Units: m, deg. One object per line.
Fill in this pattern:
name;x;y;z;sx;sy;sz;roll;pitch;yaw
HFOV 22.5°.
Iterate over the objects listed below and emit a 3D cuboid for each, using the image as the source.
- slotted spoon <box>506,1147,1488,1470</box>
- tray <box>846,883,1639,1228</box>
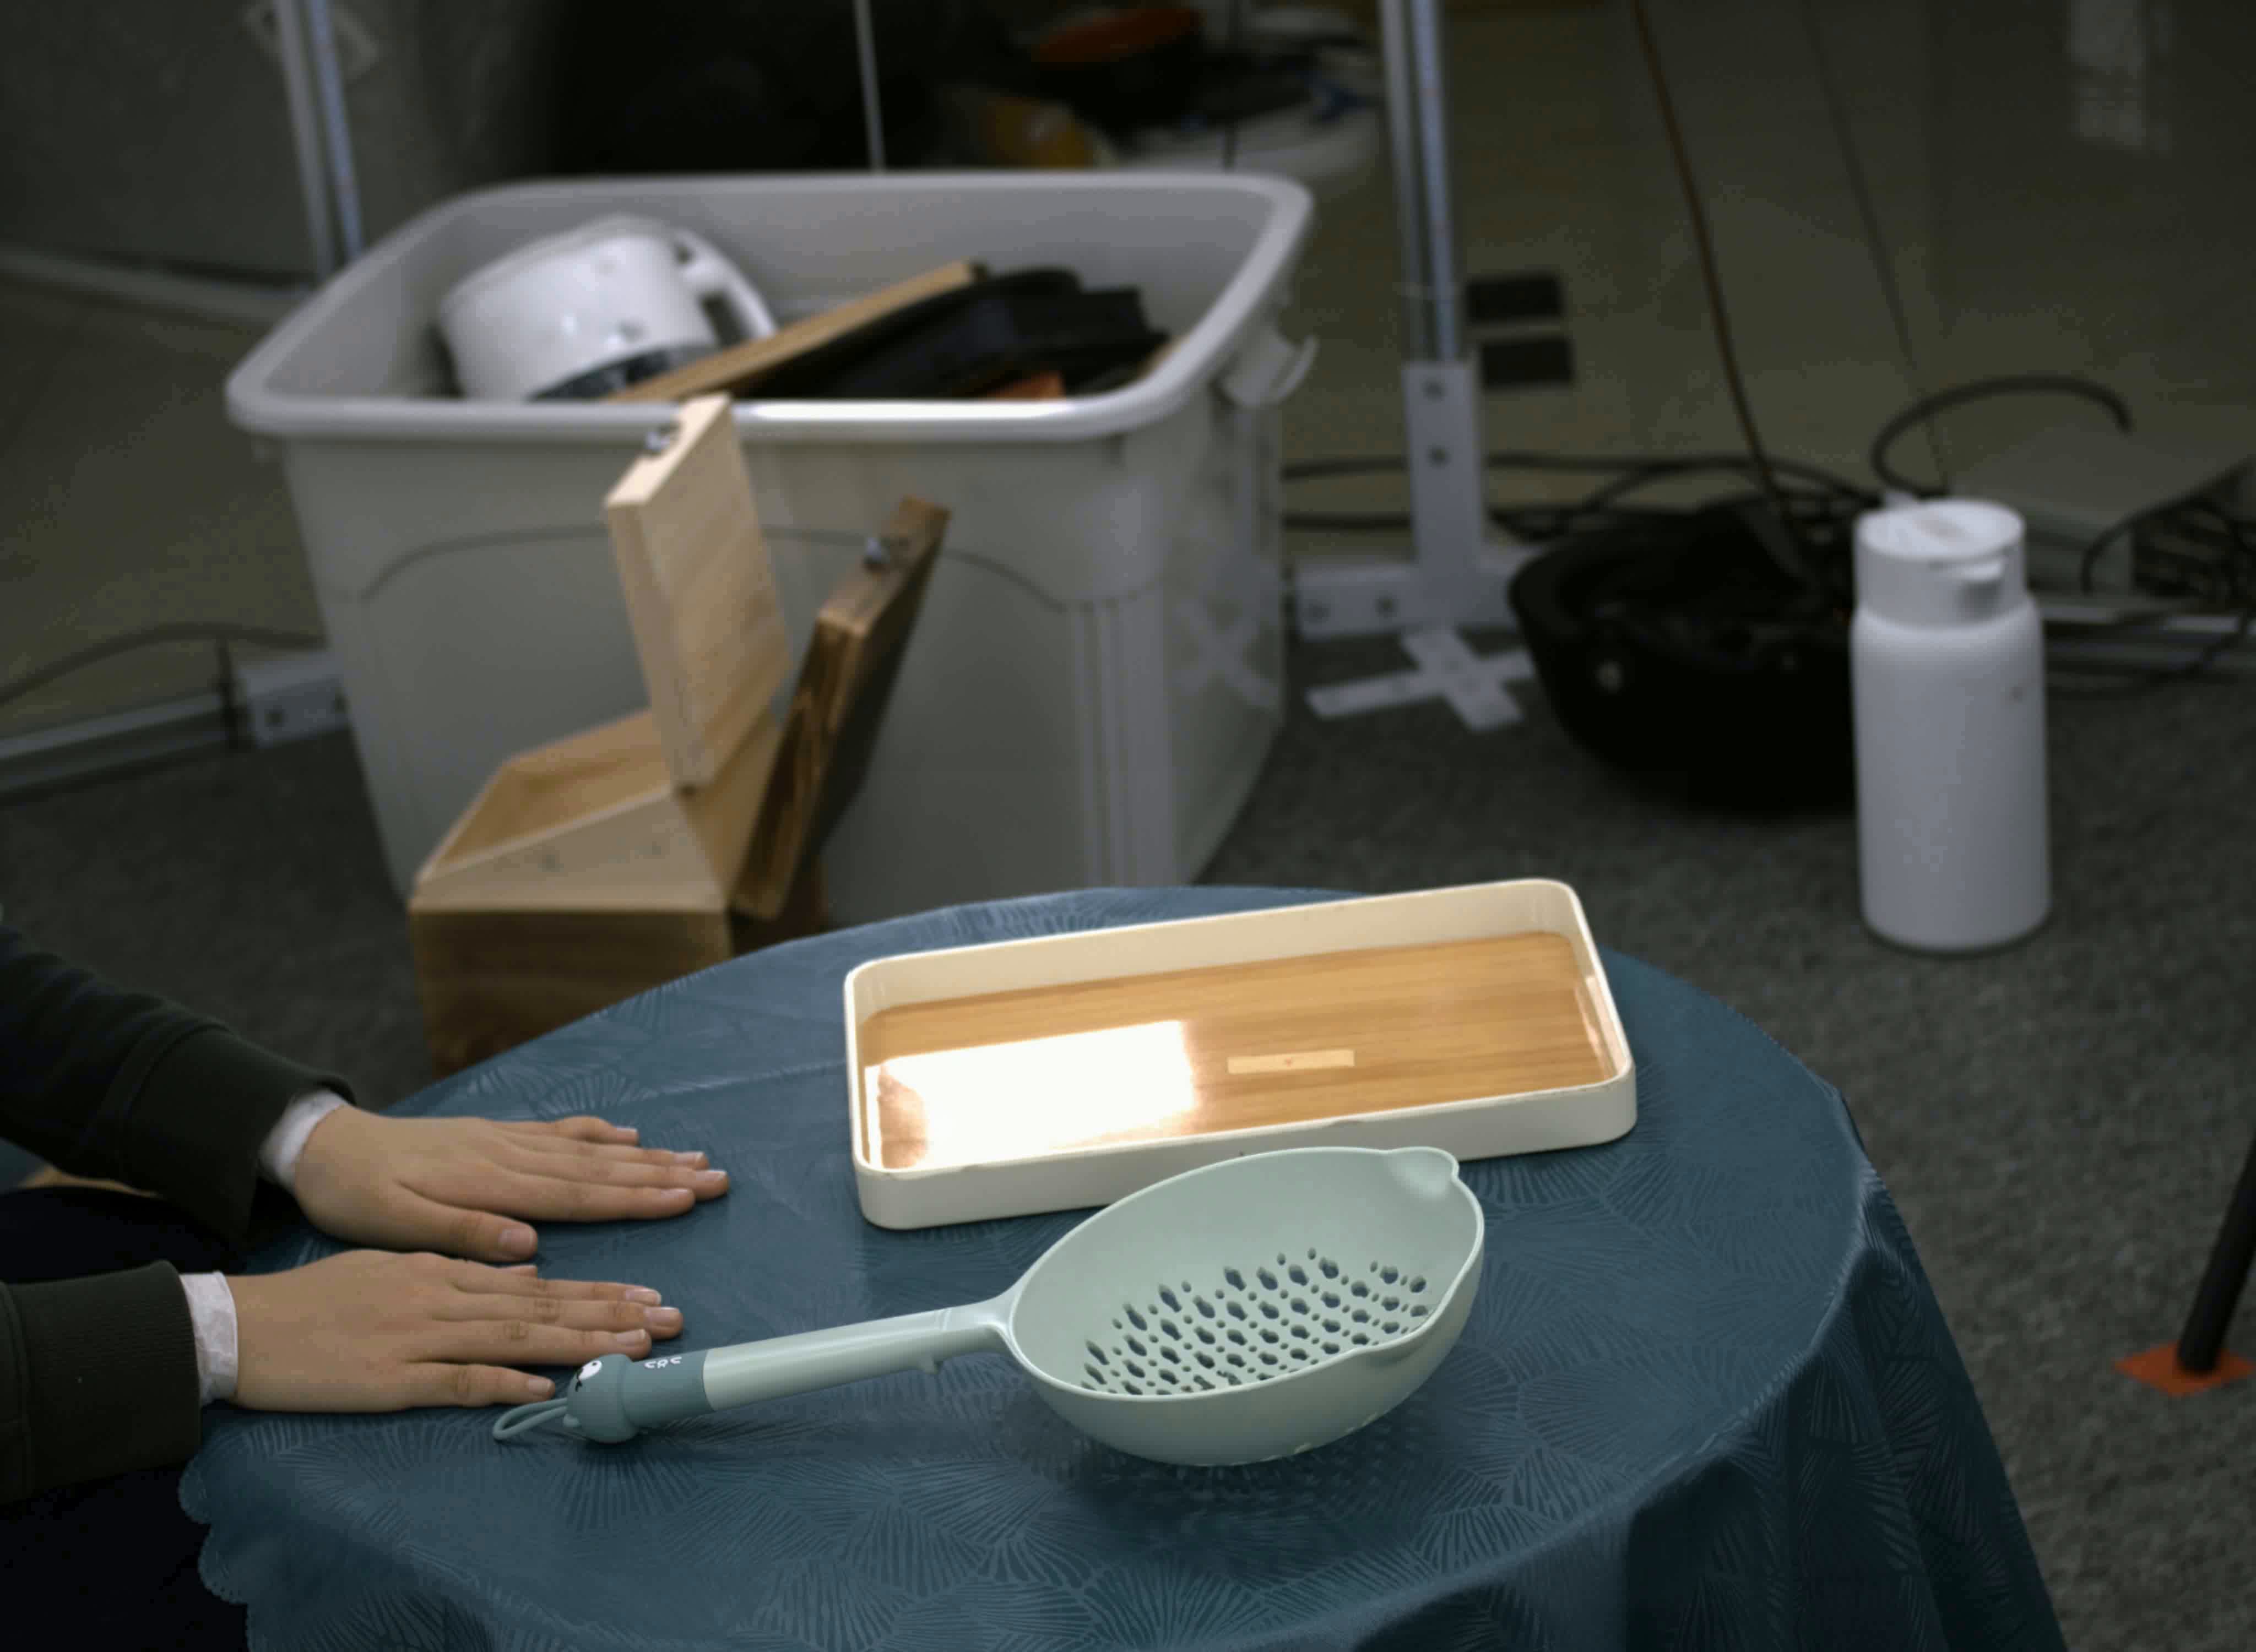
slotted spoon;-0.050;0.181;1.996;0.358;0.076;0.167;-2;25;9
tray;0.041;0.088;2.222;0.300;0.028;0.189;-6;25;-1
